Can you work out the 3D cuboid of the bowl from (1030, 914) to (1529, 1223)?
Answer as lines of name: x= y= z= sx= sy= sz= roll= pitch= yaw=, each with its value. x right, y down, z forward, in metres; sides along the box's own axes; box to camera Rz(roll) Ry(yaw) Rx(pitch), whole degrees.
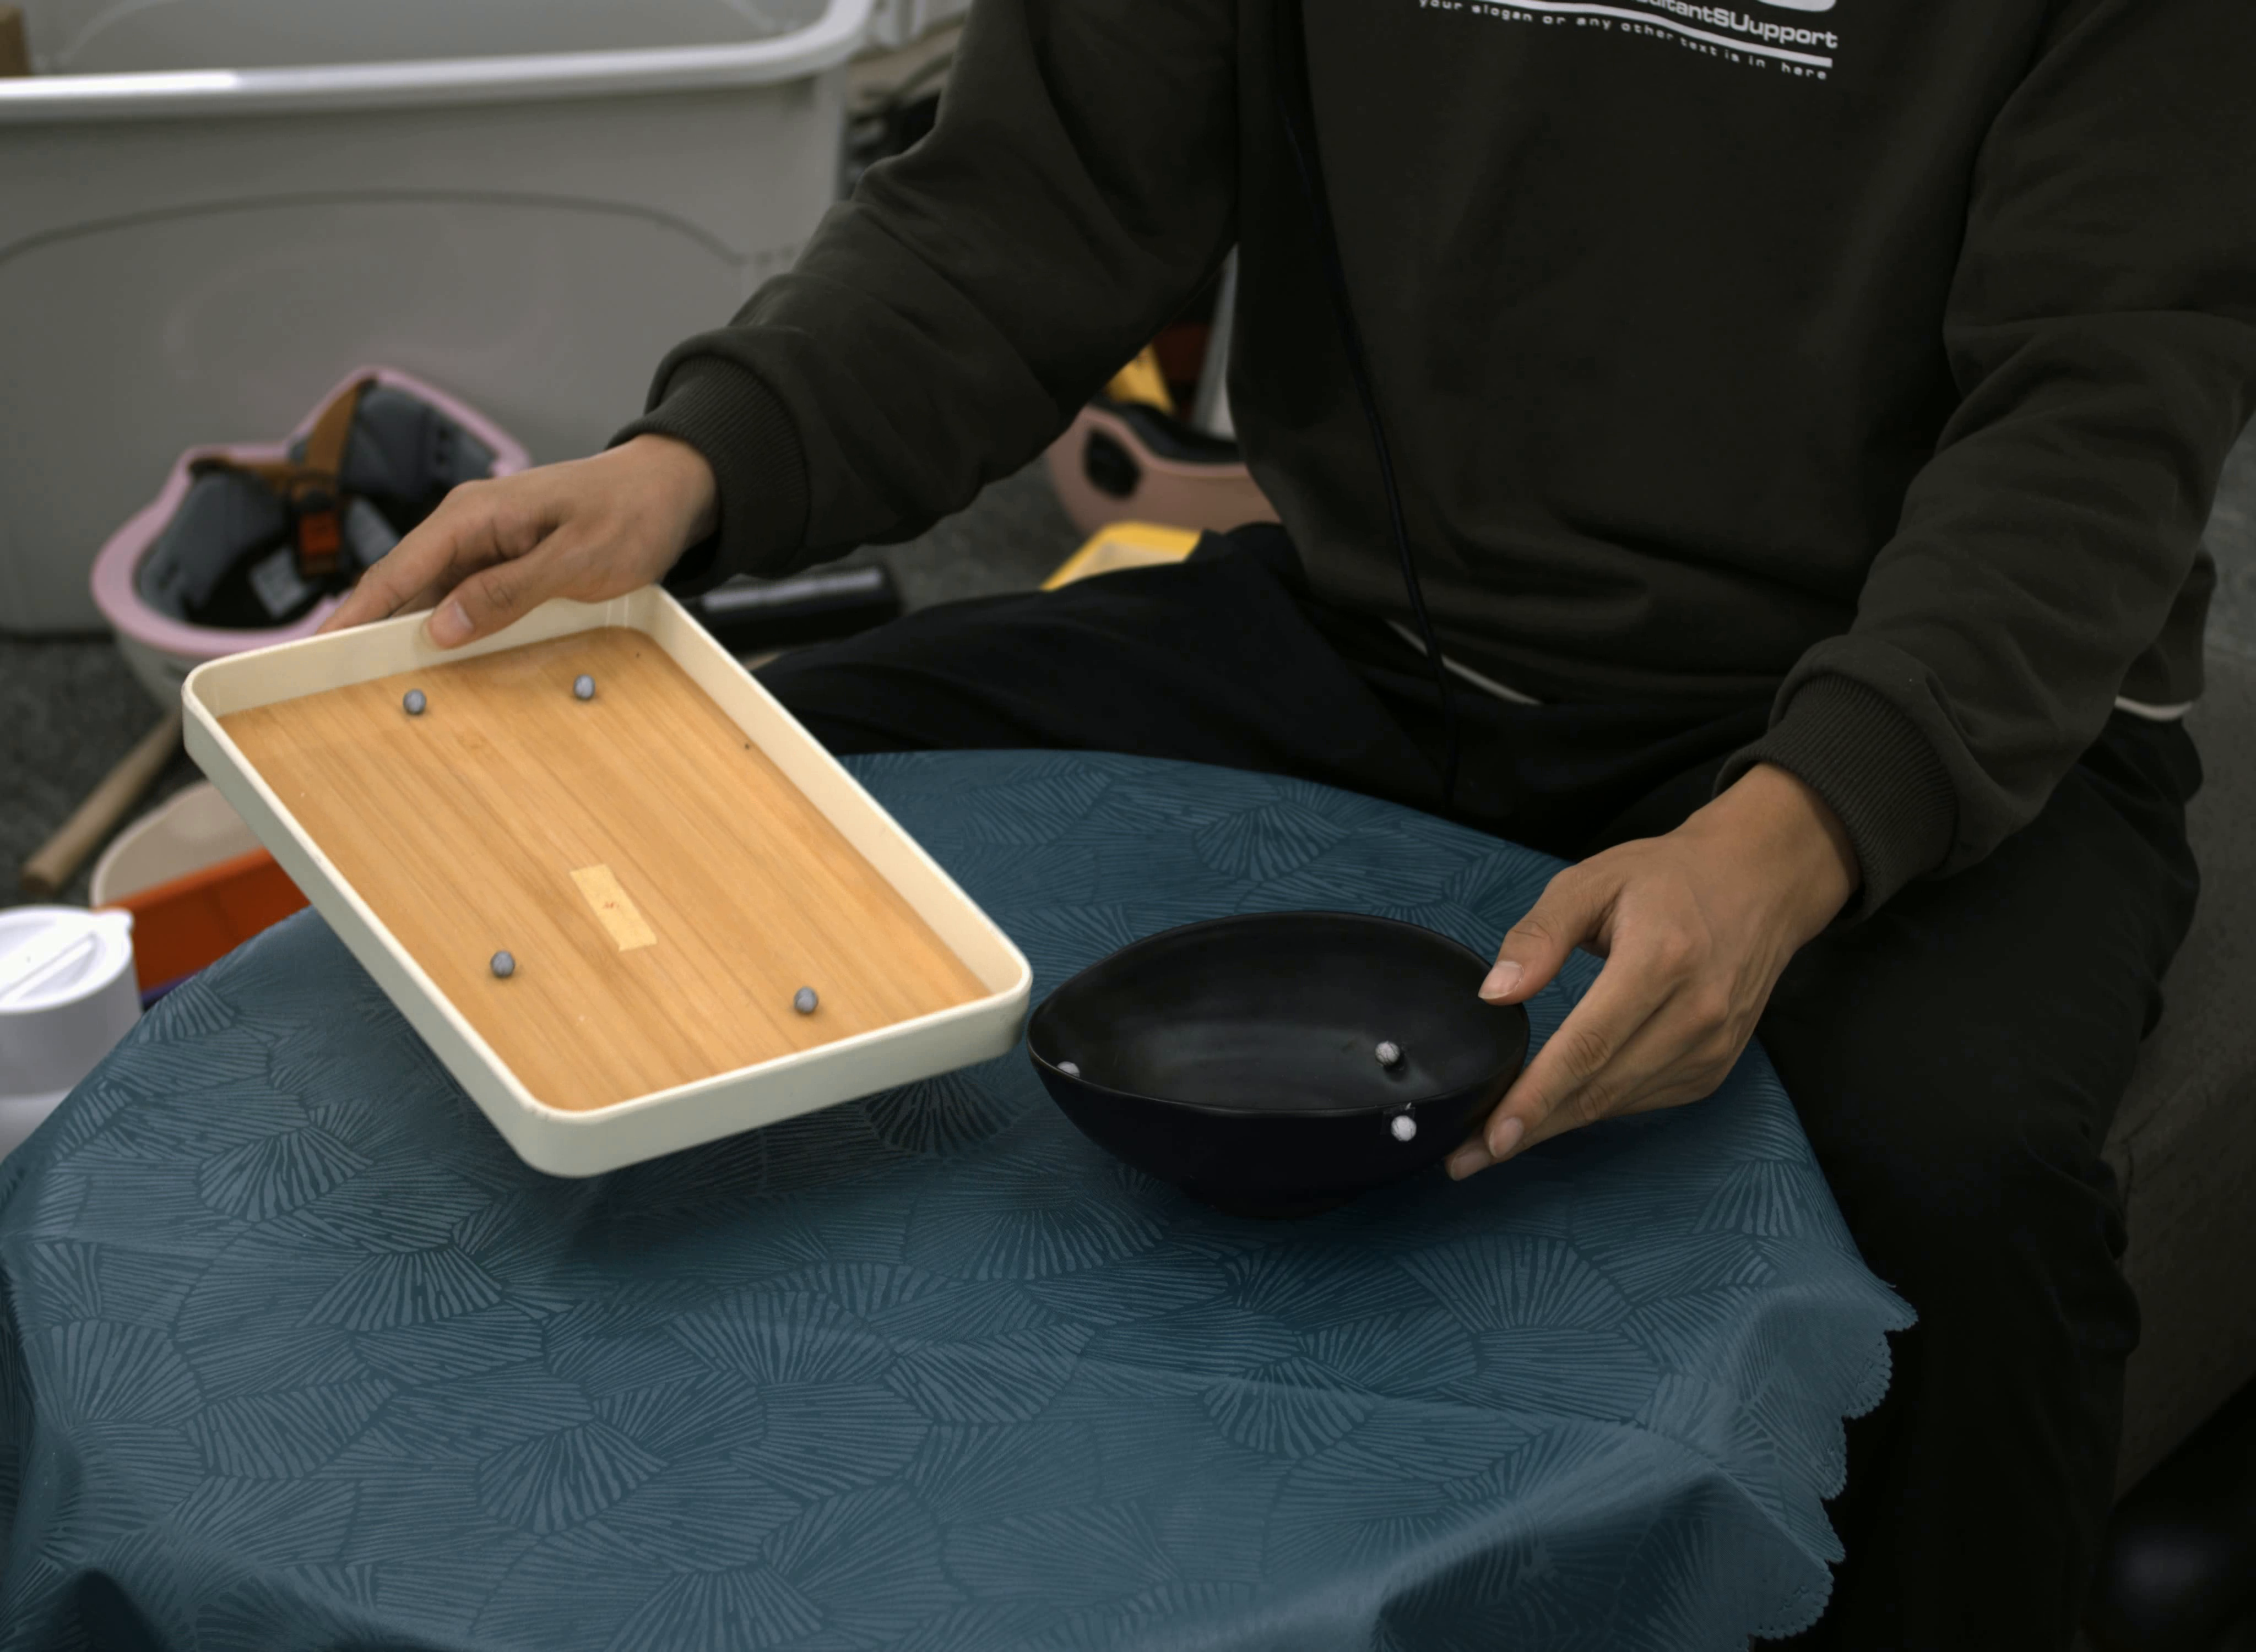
bowl: x=0.049 y=0.089 z=1.859 sx=0.169 sy=0.066 sz=0.139 roll=3 pitch=26 yaw=16

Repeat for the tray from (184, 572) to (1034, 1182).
tray: x=-0.183 y=0.012 z=1.942 sx=0.193 sy=0.027 sz=0.302 roll=-15 pitch=39 yaw=-29
